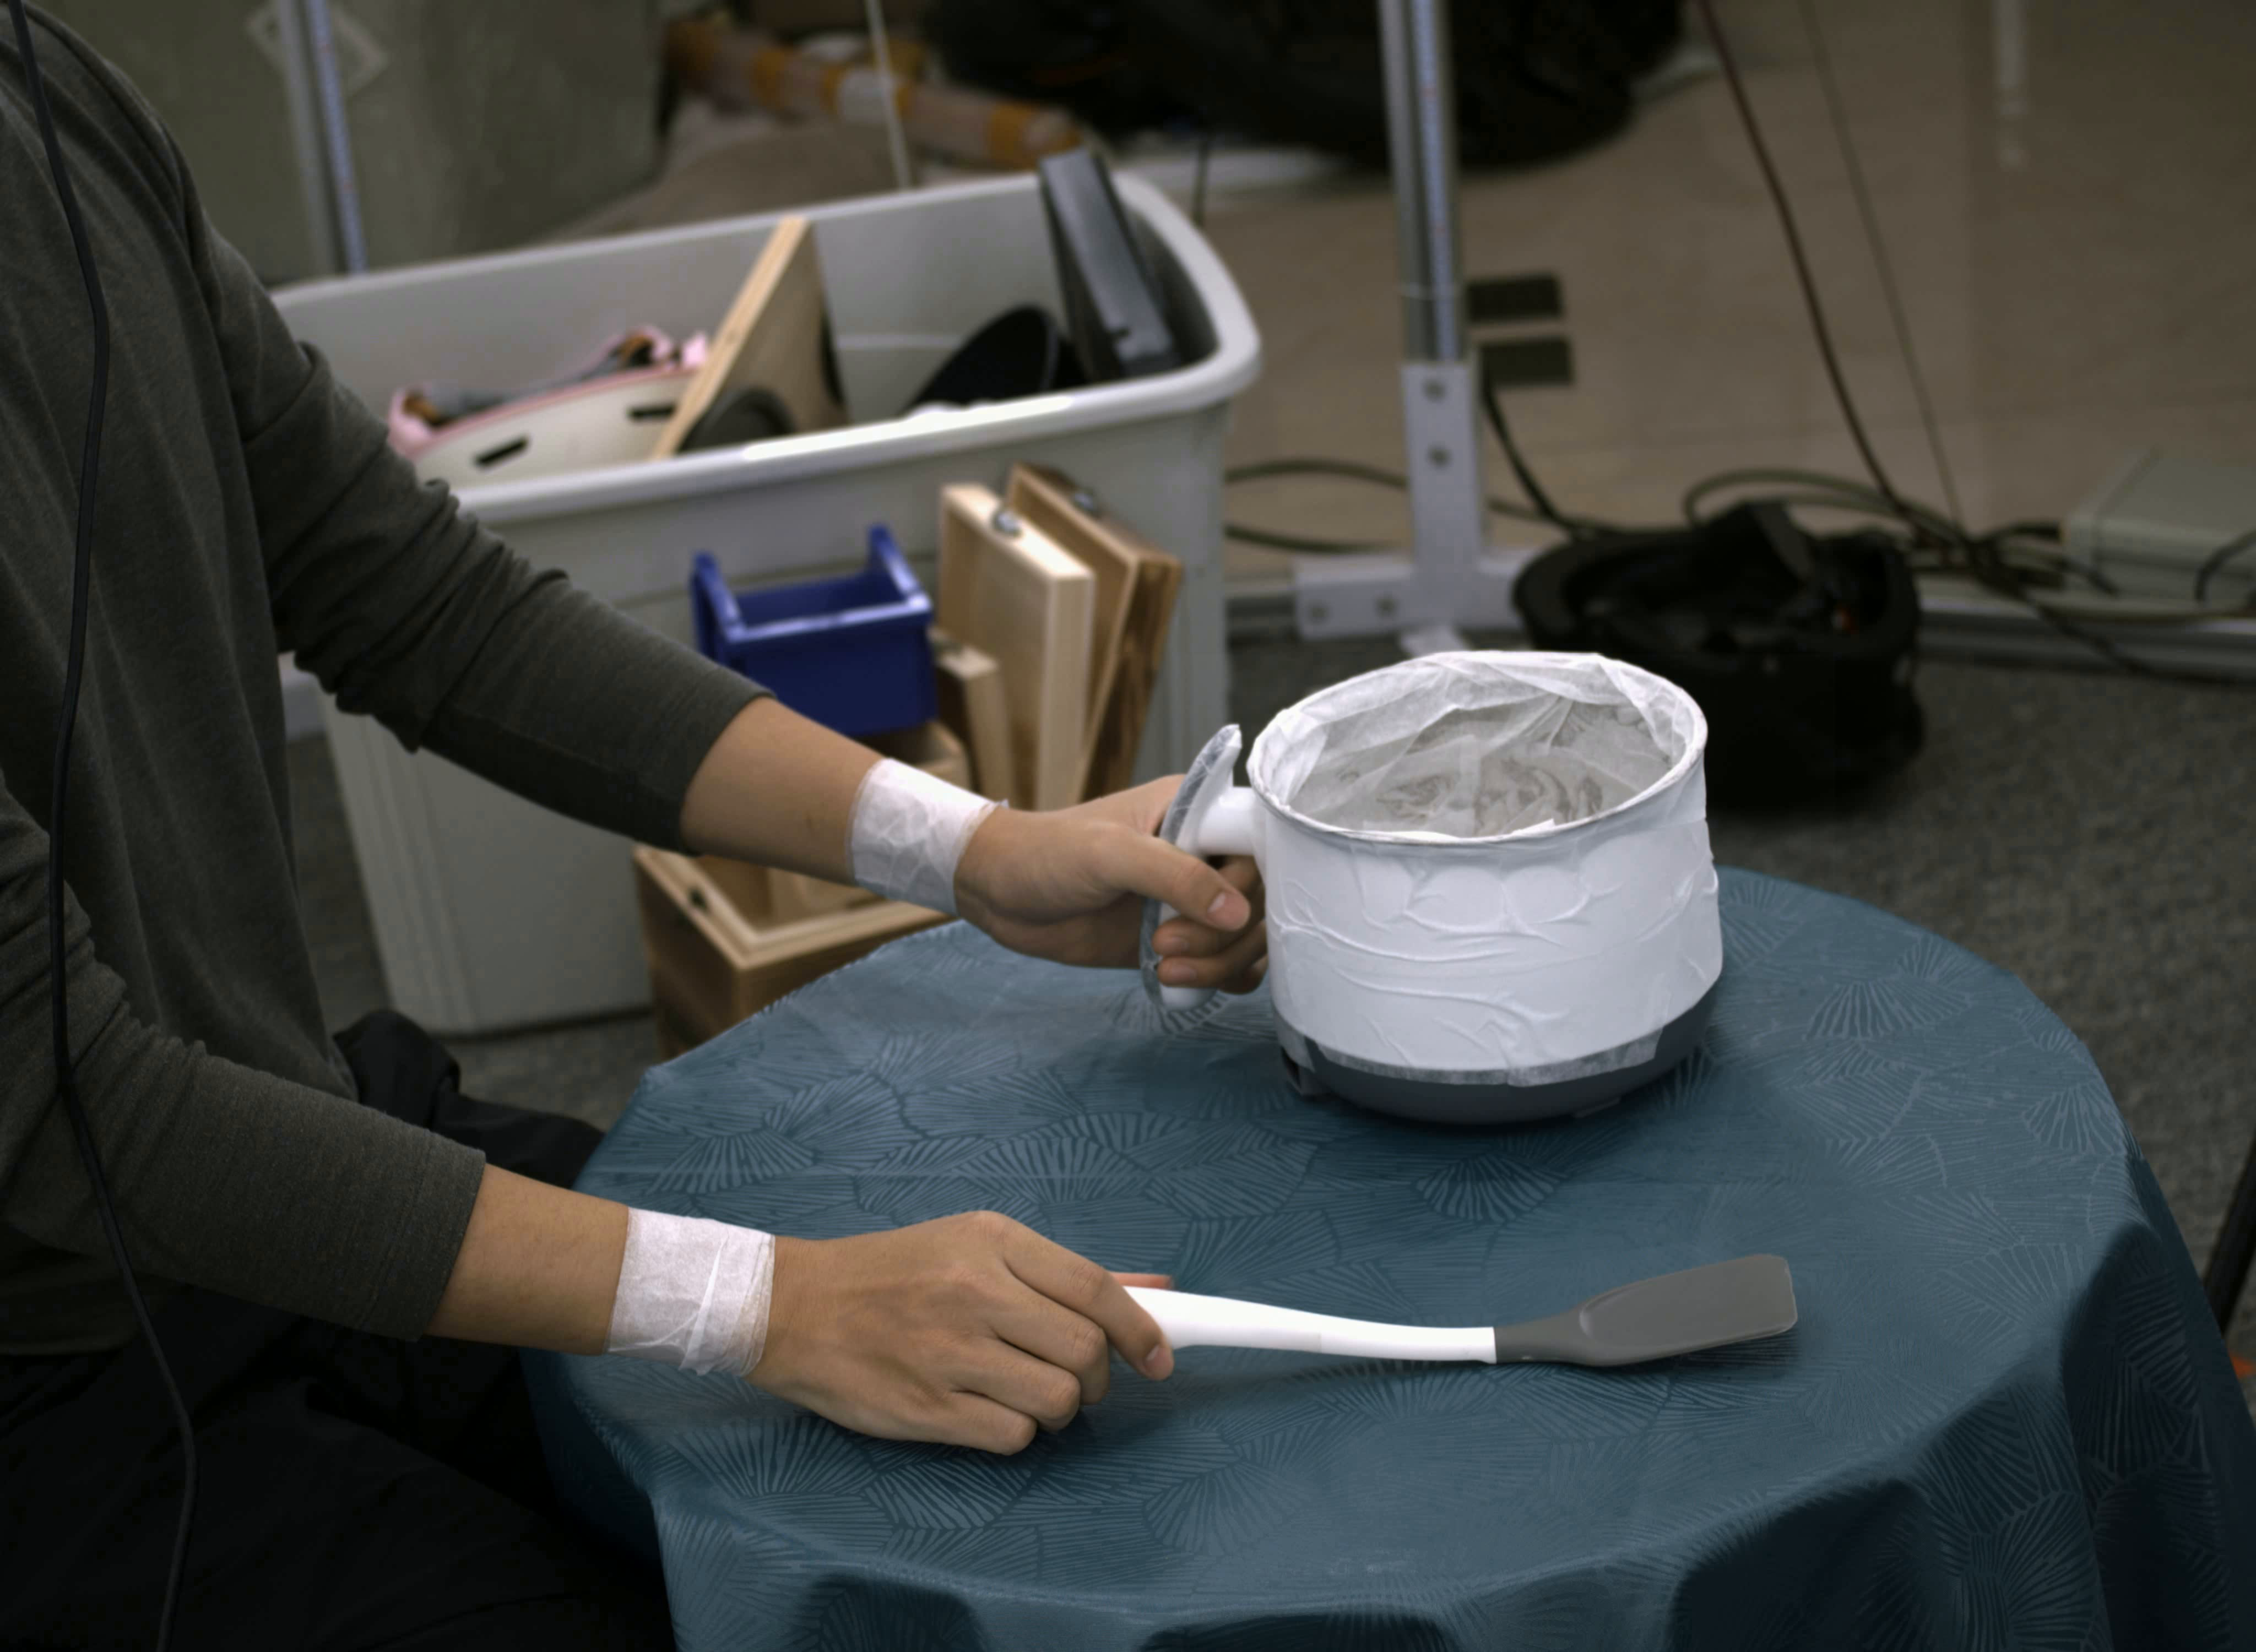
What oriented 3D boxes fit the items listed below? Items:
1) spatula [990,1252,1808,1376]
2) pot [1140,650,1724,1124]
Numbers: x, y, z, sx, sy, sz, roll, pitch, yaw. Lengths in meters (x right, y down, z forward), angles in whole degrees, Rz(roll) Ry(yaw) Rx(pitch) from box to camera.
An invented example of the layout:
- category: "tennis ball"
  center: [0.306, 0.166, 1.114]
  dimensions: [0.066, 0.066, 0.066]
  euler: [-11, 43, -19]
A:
- category: "spatula"
  center: [0.095, 0.175, 2.004]
  dimensions: [0.287, 0.033, 0.058]
  euler: [-1, 24, 1]
- category: "pot"
  center: [0.114, 0.025, 2.204]
  dimensions: [0.233, 0.139, 0.176]
  euler: [1, 26, 17]
